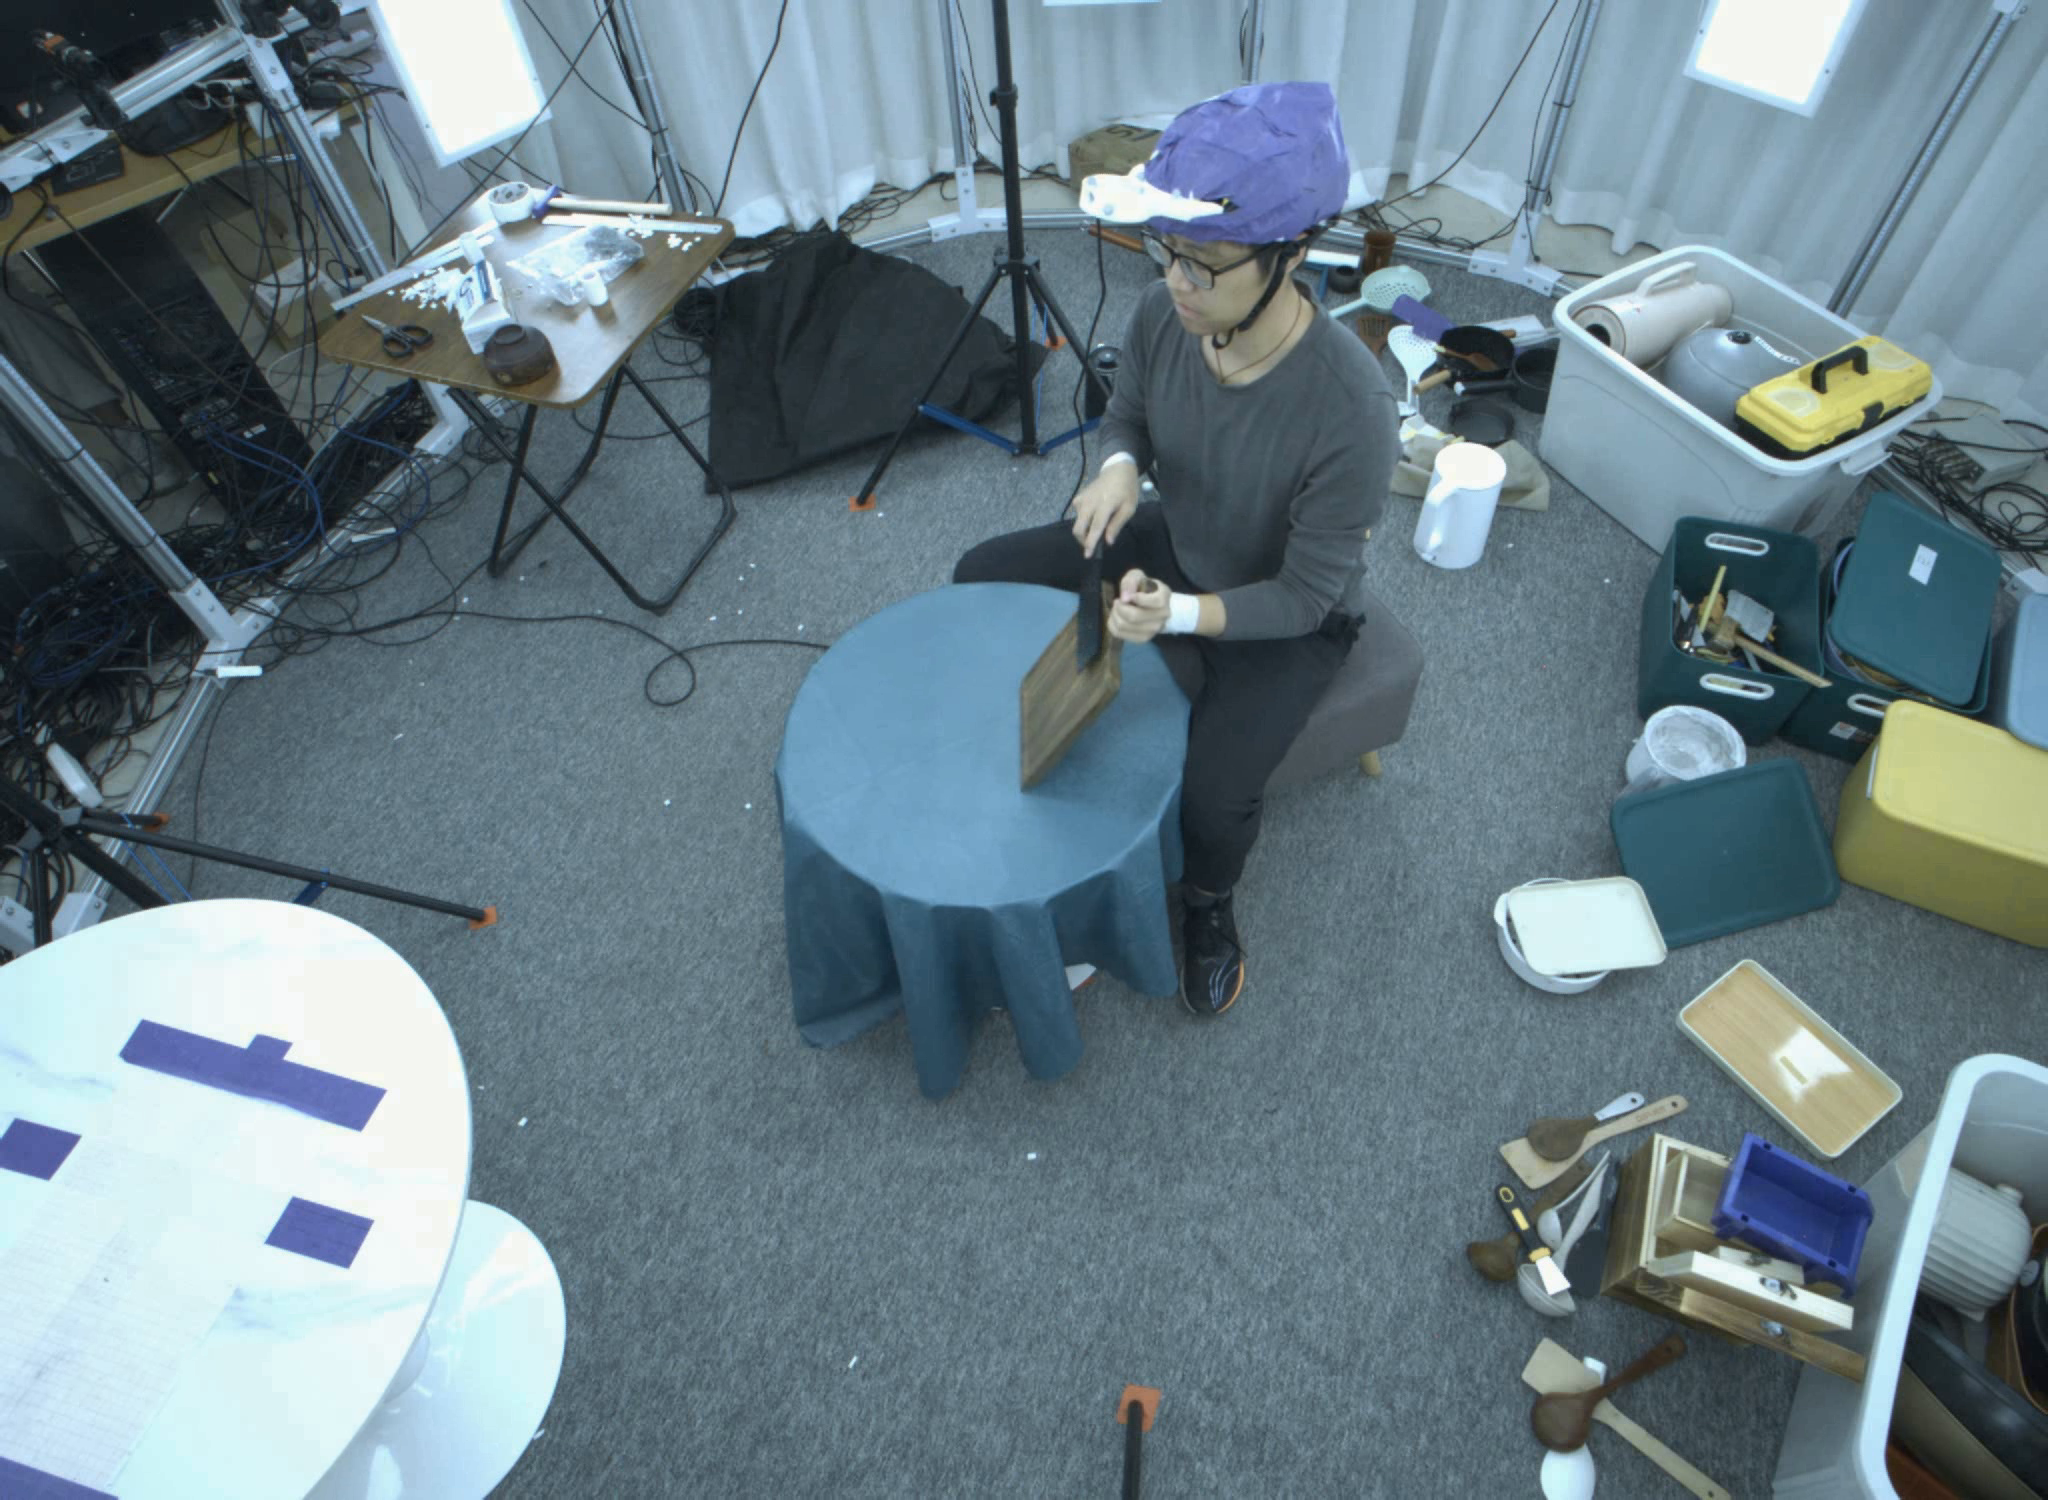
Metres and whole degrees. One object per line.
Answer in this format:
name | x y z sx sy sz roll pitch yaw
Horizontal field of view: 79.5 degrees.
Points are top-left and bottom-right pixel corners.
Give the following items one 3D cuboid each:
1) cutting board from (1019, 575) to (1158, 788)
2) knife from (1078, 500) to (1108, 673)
cutting board | 0.082 -0.117 1.685 0.023 0.350 0.199 16 50 -23
knife | 0.094 -0.236 1.709 0.021 0.080 0.300 18 55 -18
